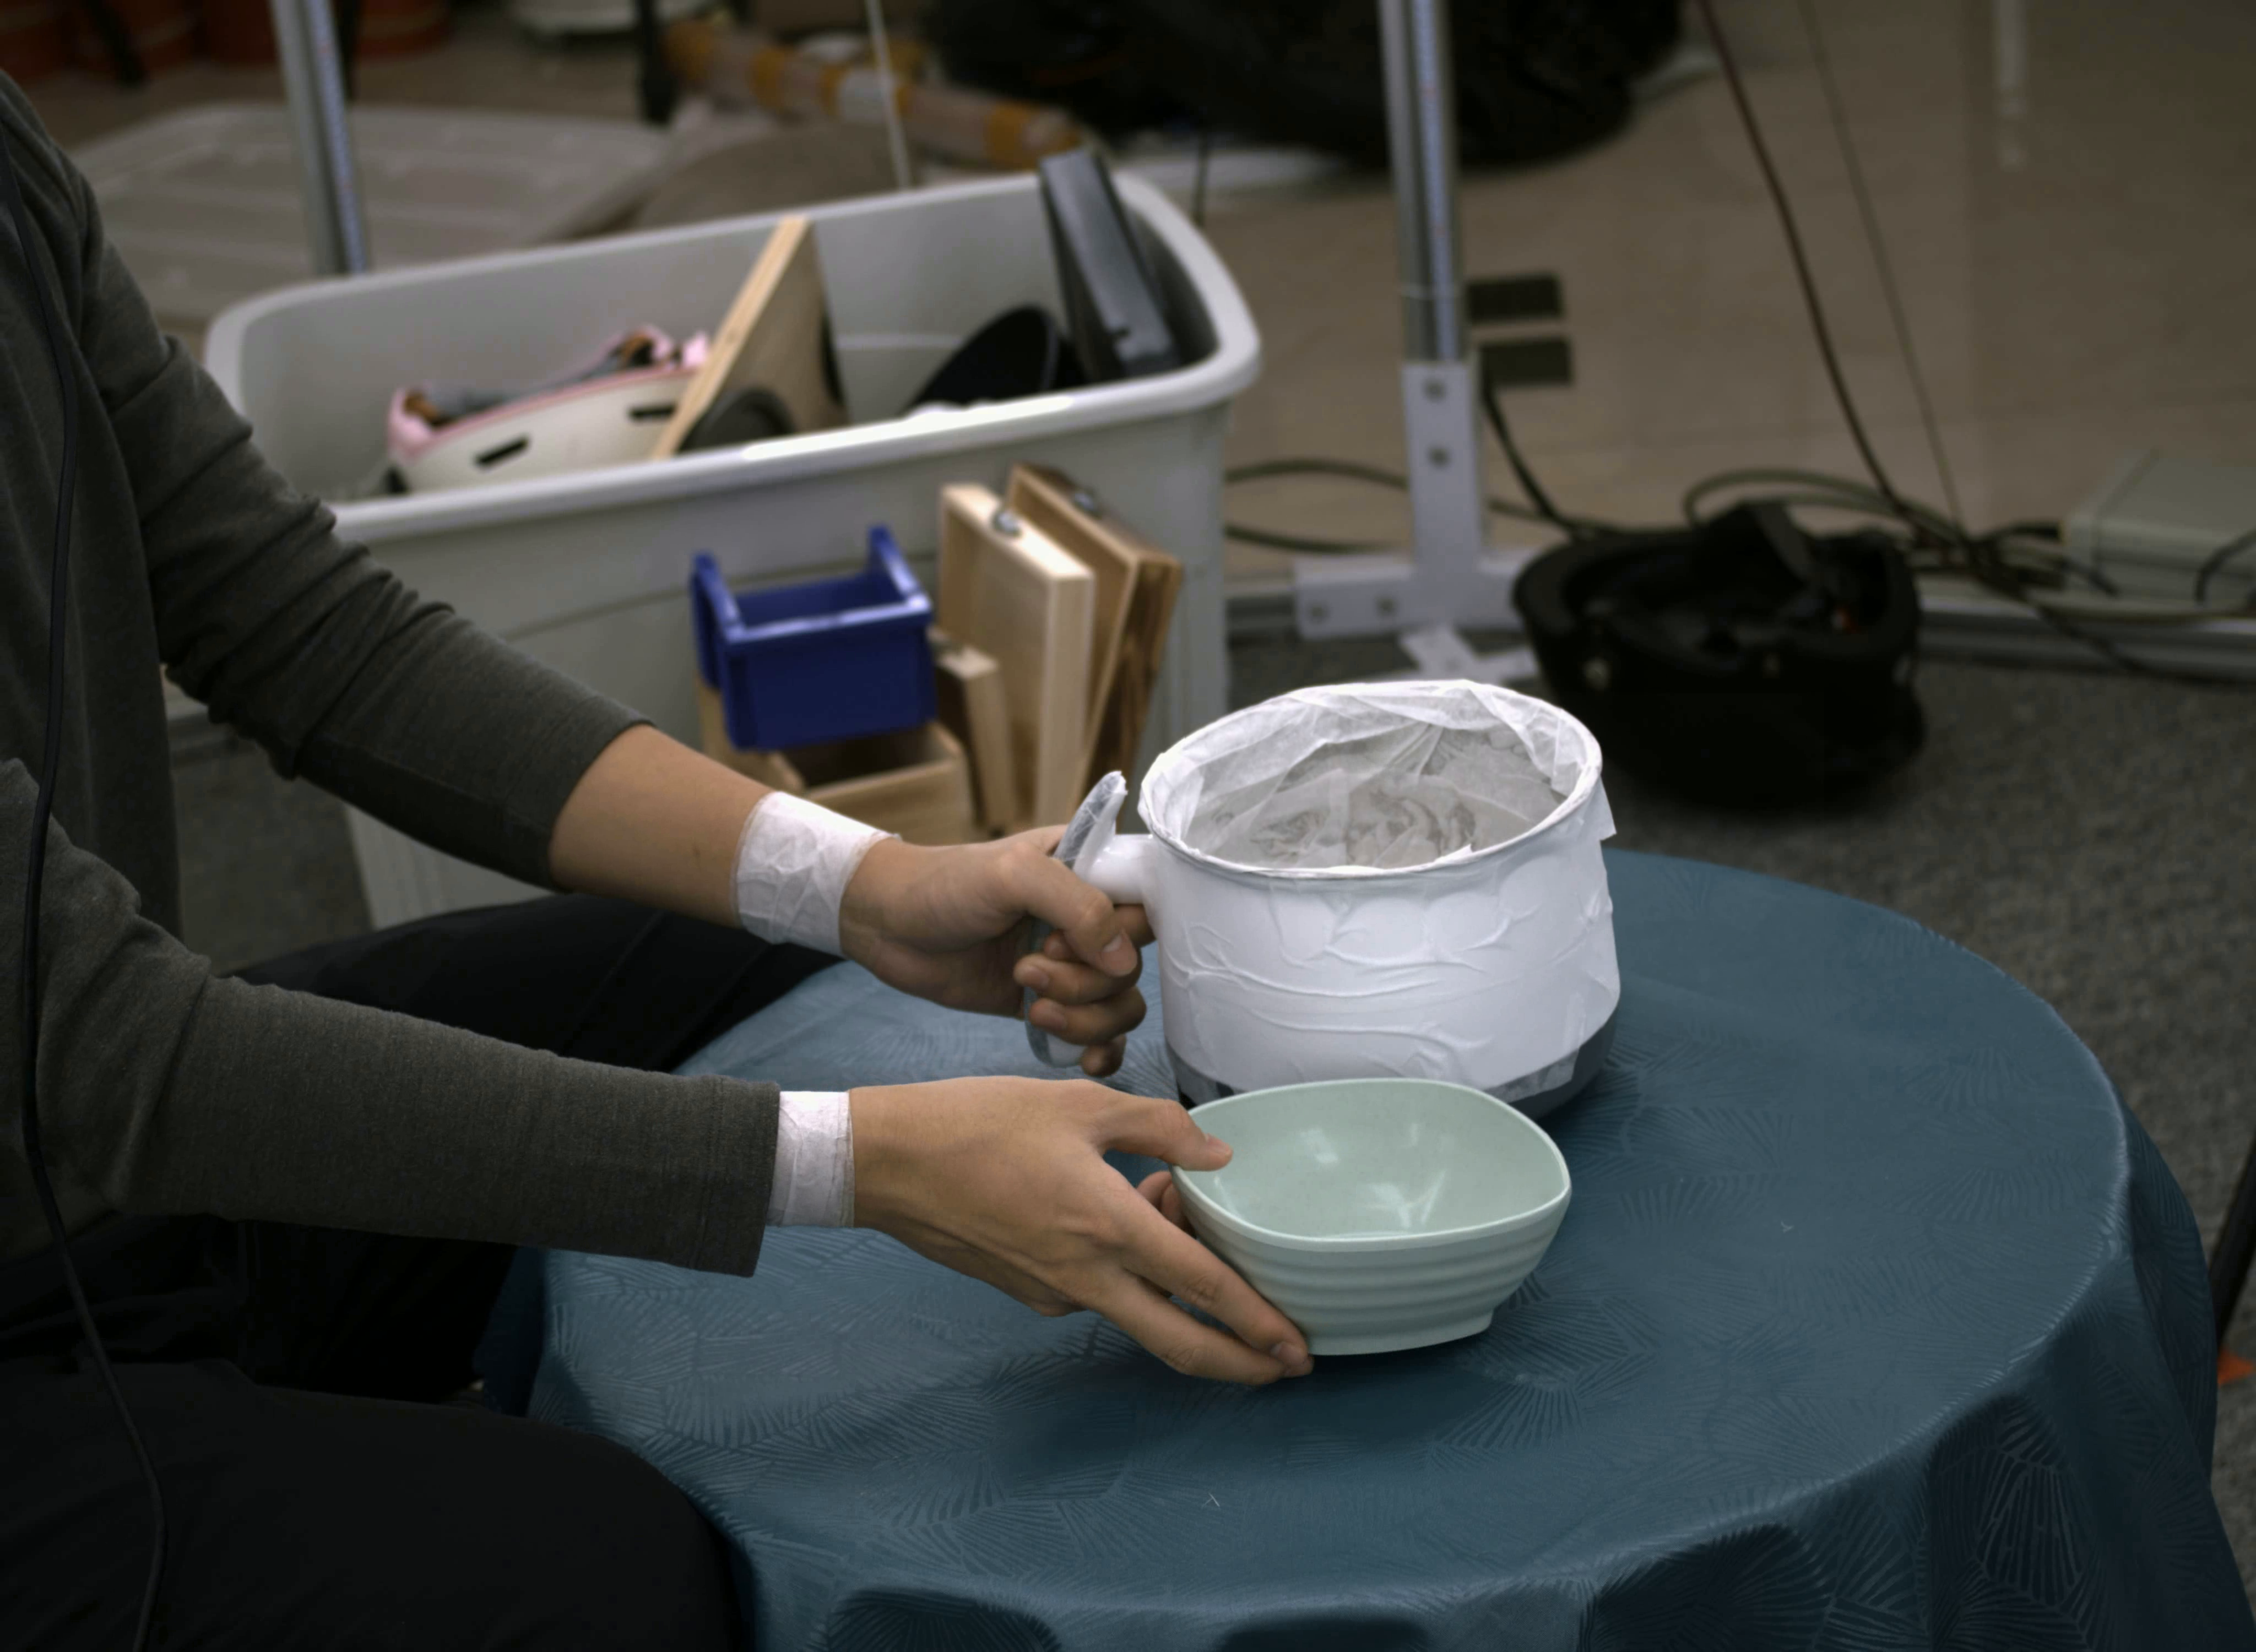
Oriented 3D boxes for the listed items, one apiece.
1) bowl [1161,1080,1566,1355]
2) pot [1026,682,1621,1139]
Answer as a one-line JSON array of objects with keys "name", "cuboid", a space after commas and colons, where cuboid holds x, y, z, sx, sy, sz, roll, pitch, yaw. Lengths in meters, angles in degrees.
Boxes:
[{"name": "bowl", "cuboid": [0.082, 0.145, 2.034, 0.151, 0.059, 0.149, 3, 21, -1]}, {"name": "pot", "cuboid": [0.072, 0.040, 2.185, 0.233, 0.139, 0.176, -3, 26, 9]}]
